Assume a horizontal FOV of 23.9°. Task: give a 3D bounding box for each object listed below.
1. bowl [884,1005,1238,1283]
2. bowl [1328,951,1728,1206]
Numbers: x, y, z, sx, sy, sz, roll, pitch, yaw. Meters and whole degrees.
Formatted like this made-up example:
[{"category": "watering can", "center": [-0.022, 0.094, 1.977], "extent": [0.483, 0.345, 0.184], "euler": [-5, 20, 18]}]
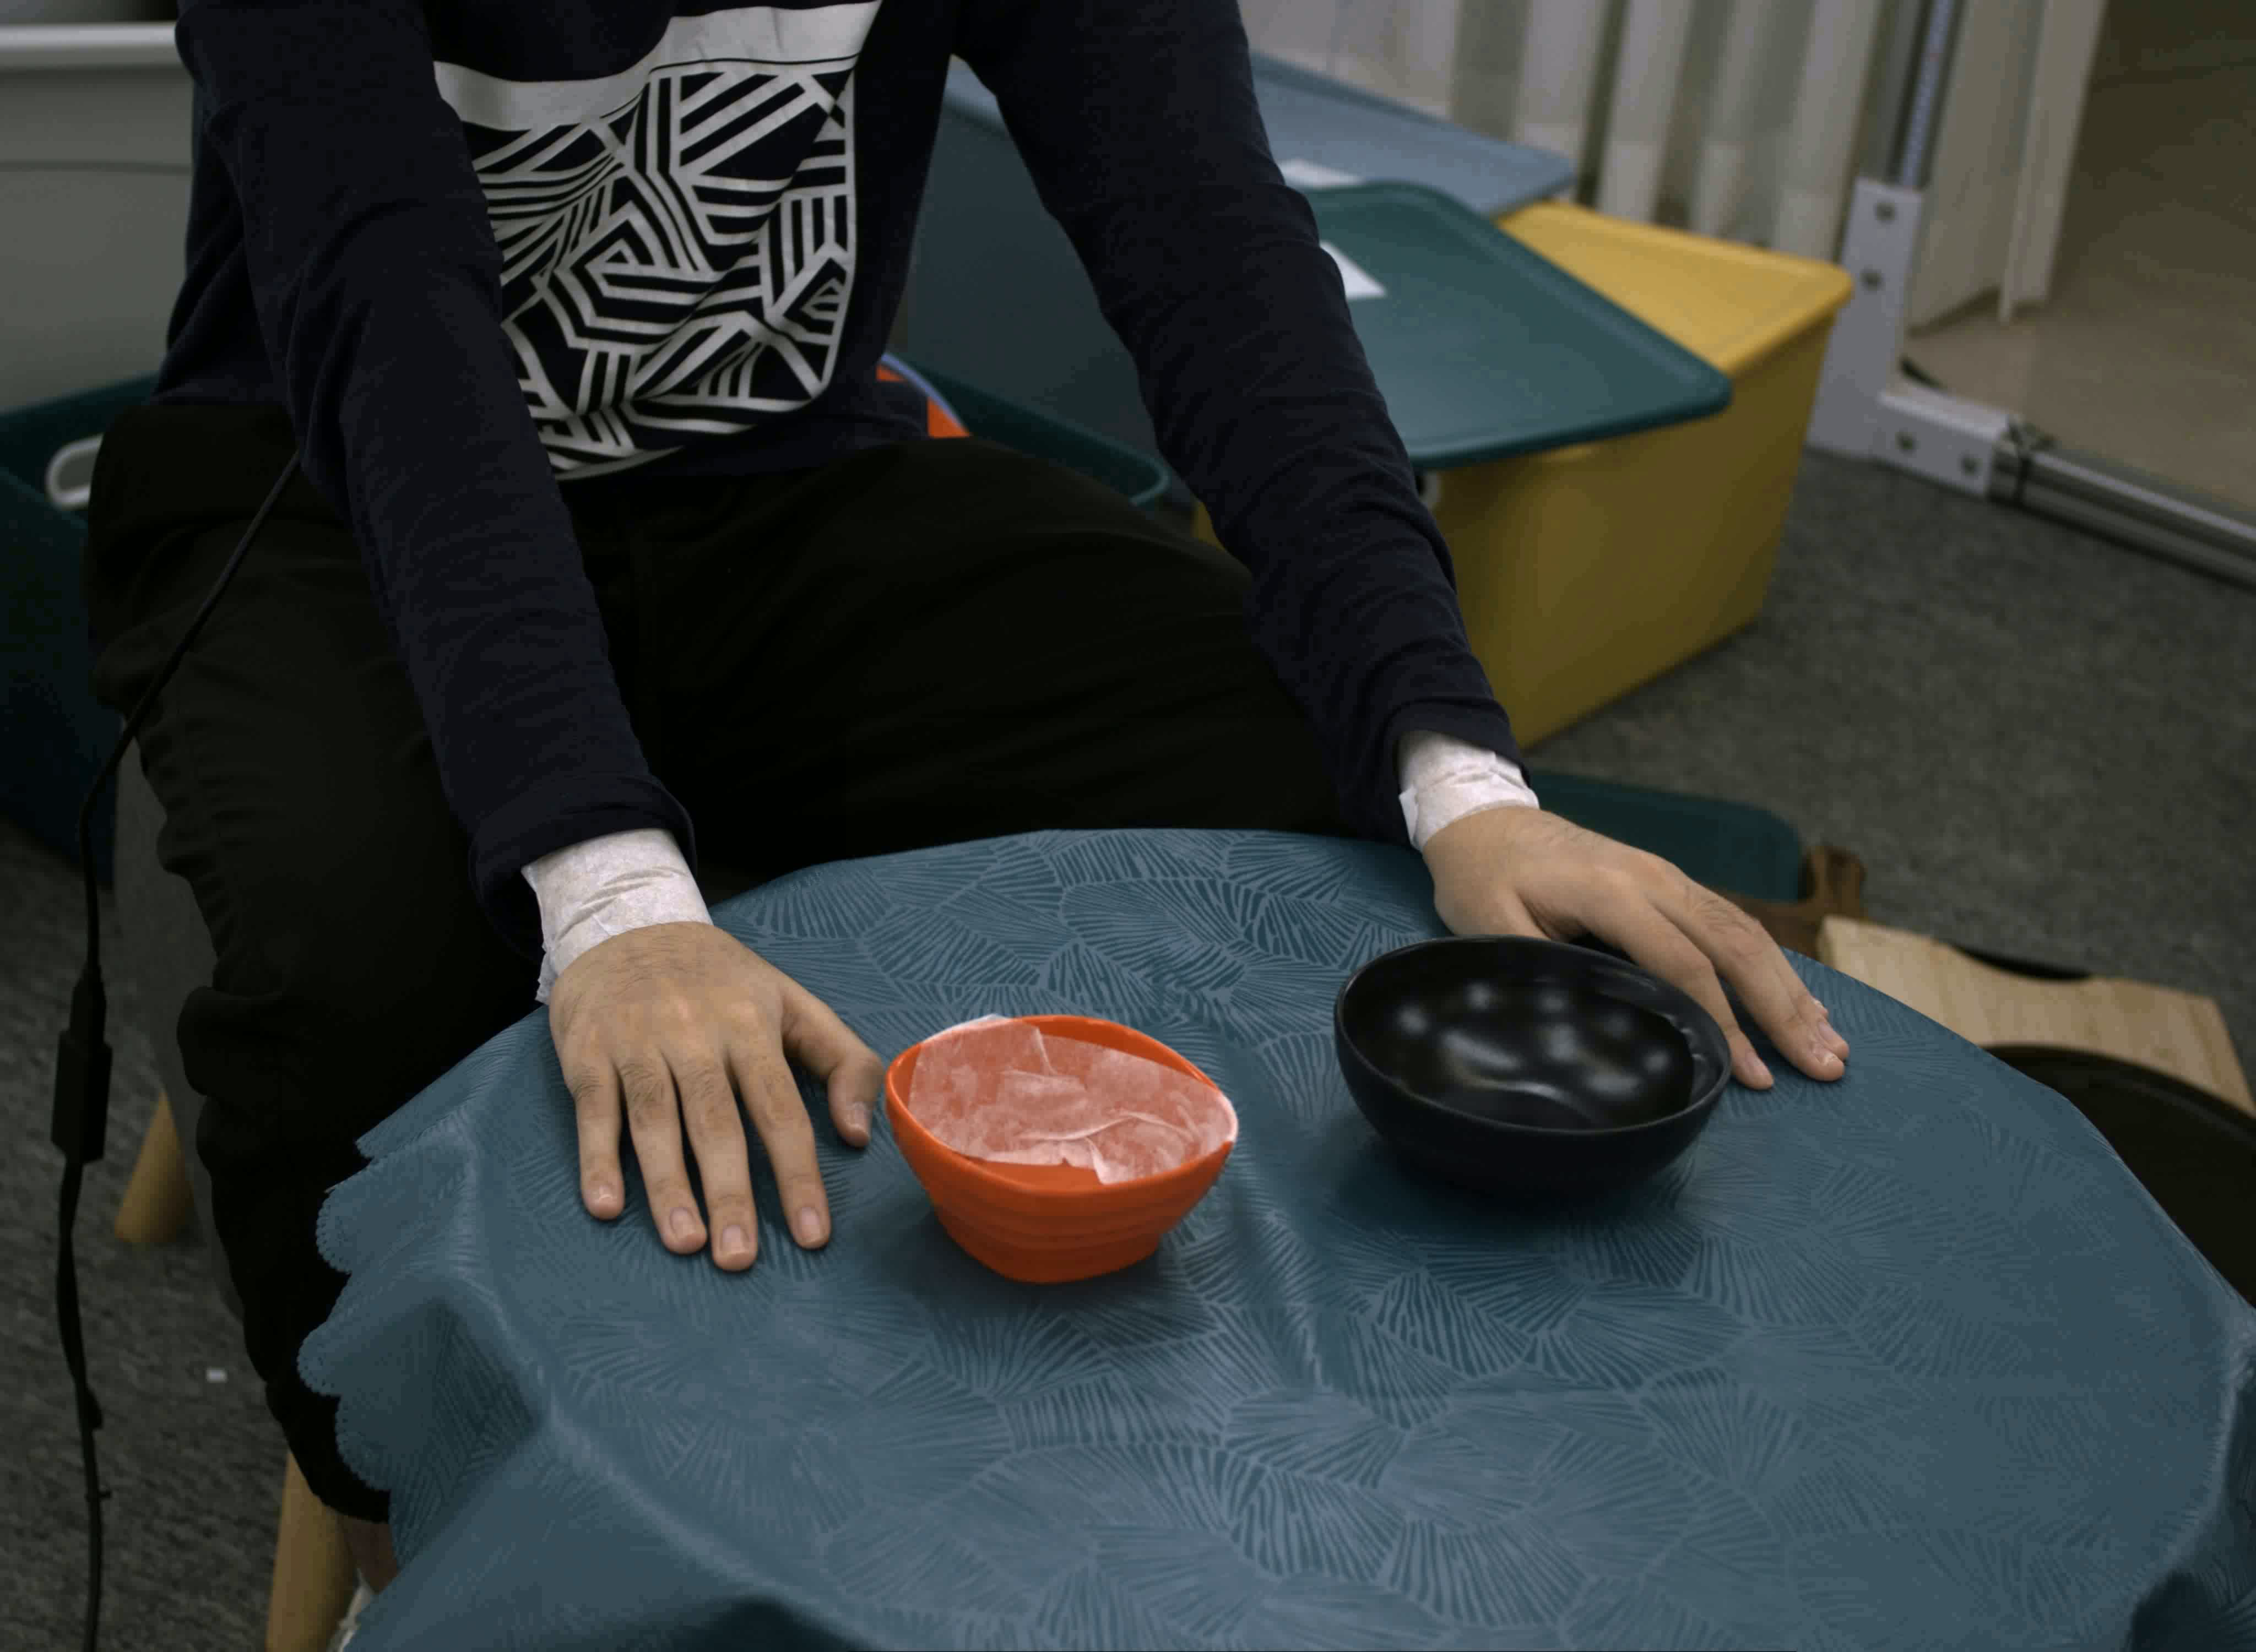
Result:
[{"category": "bowl", "center": [-0.025, 0.110, 1.768], "extent": [0.118, 0.051, 0.119], "euler": [5, 29, -3]}, {"category": "bowl", "center": [0.136, 0.094, 1.847], "extent": [0.139, 0.049, 0.141], "euler": [3, 23, -2]}]
